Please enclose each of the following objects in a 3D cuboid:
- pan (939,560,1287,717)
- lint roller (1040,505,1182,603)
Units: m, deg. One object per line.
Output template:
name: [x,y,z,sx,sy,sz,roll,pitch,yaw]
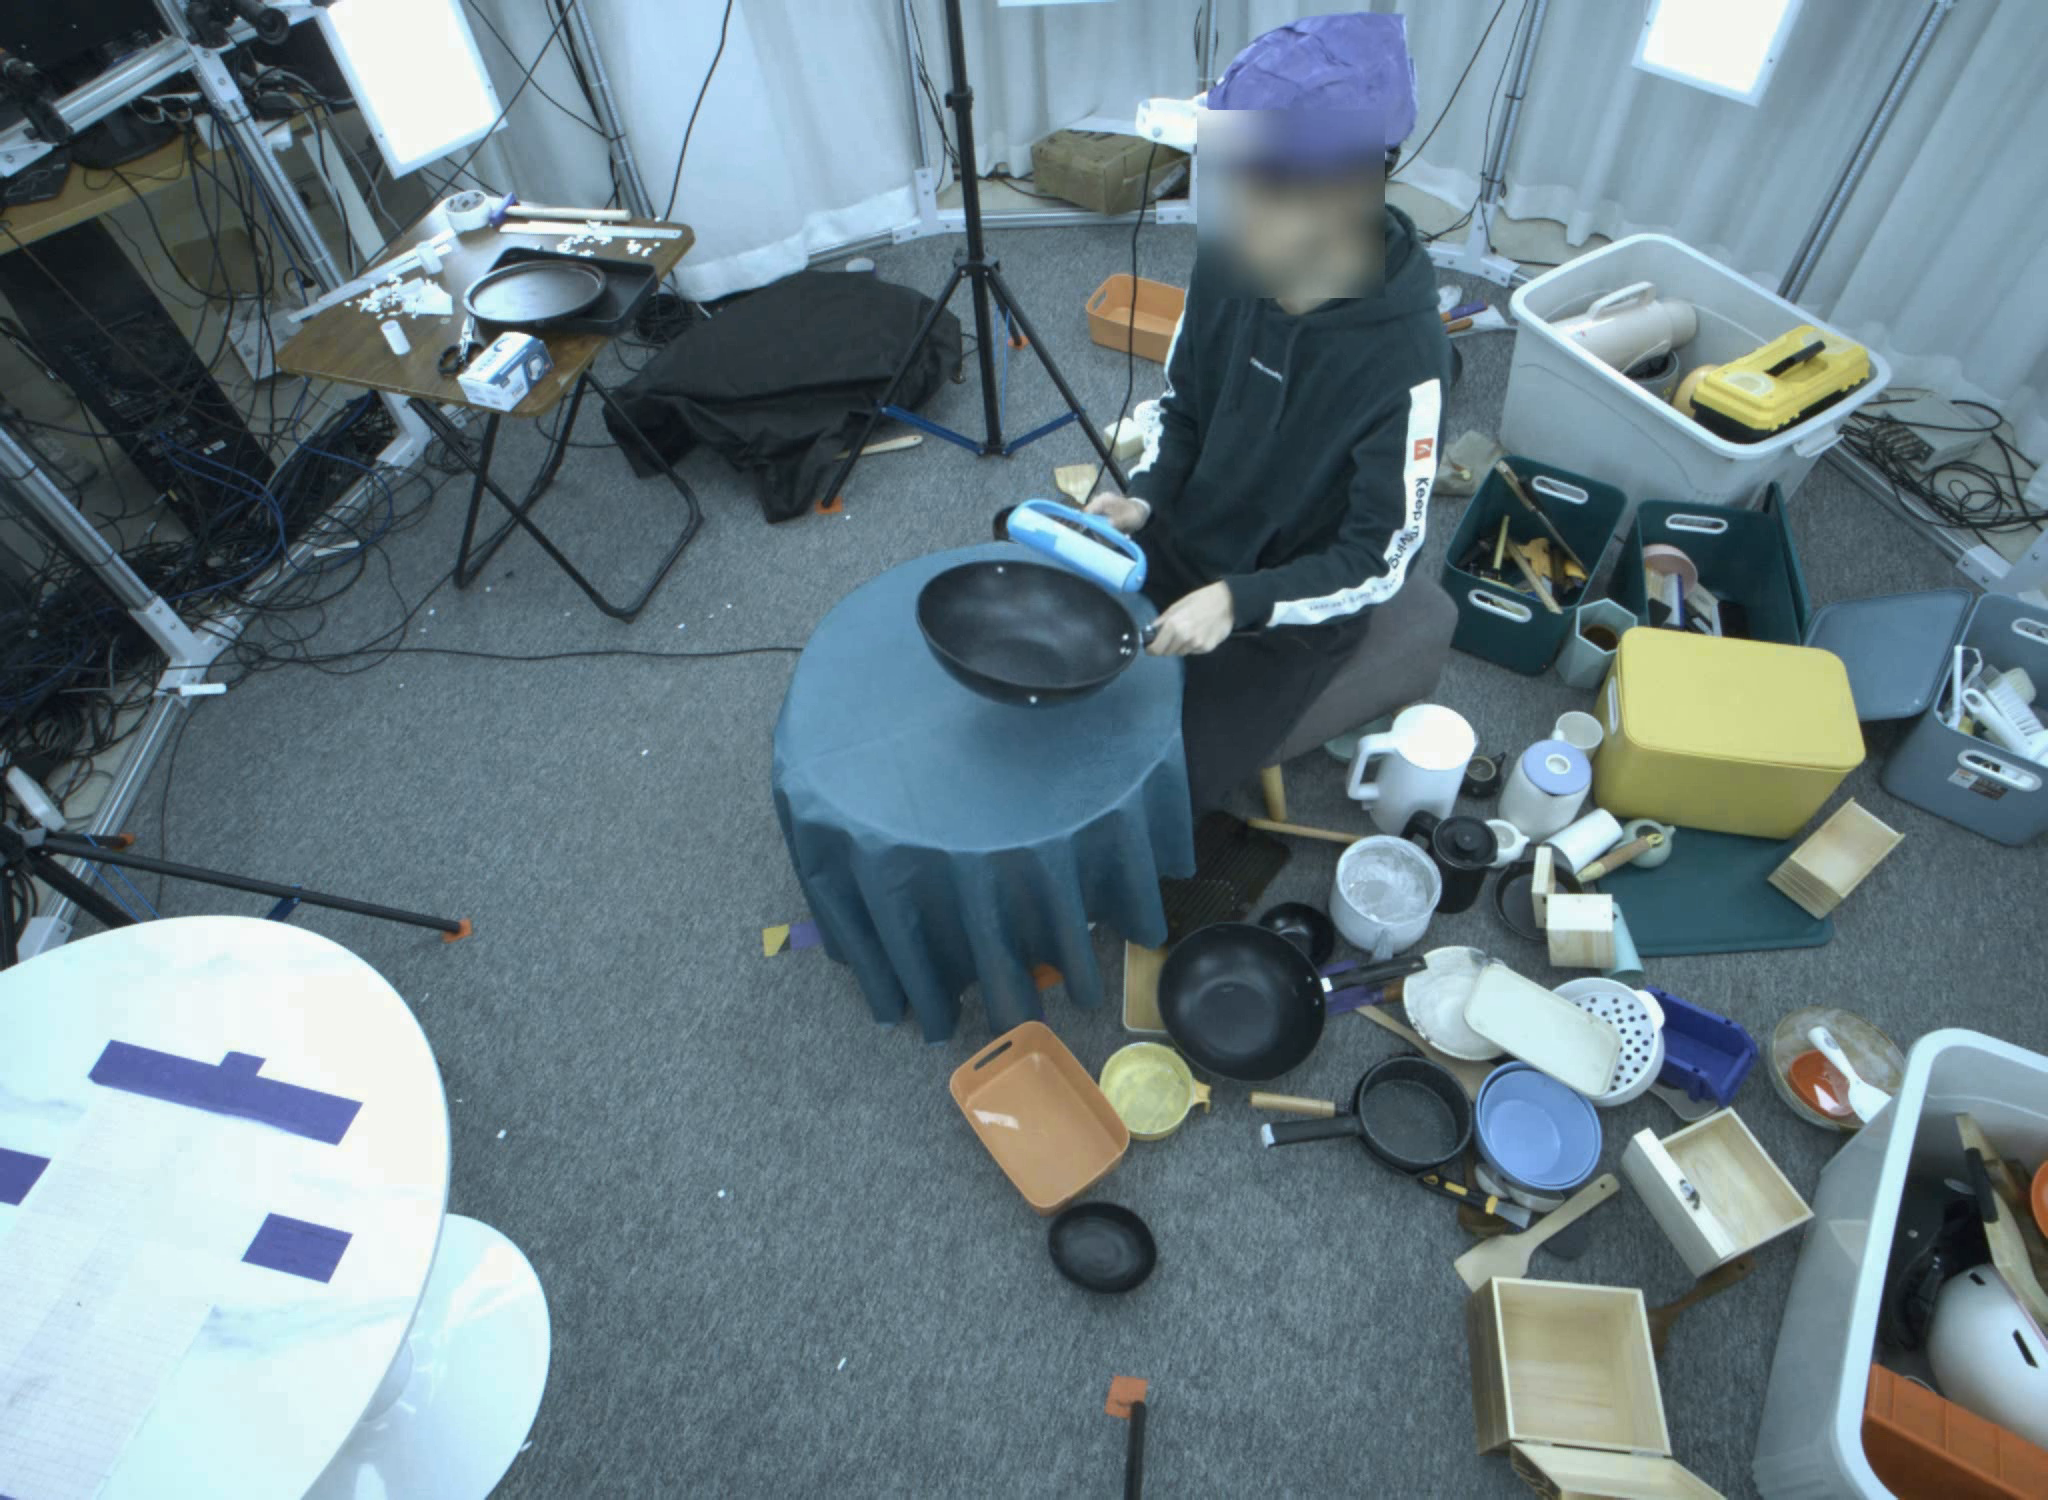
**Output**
pan: [0.118,-0.139,1.691,0.480,0.112,0.306,7,42,-9]
lint roller: [0.151,-0.308,1.816,0.226,0.068,0.181,28,42,15]
